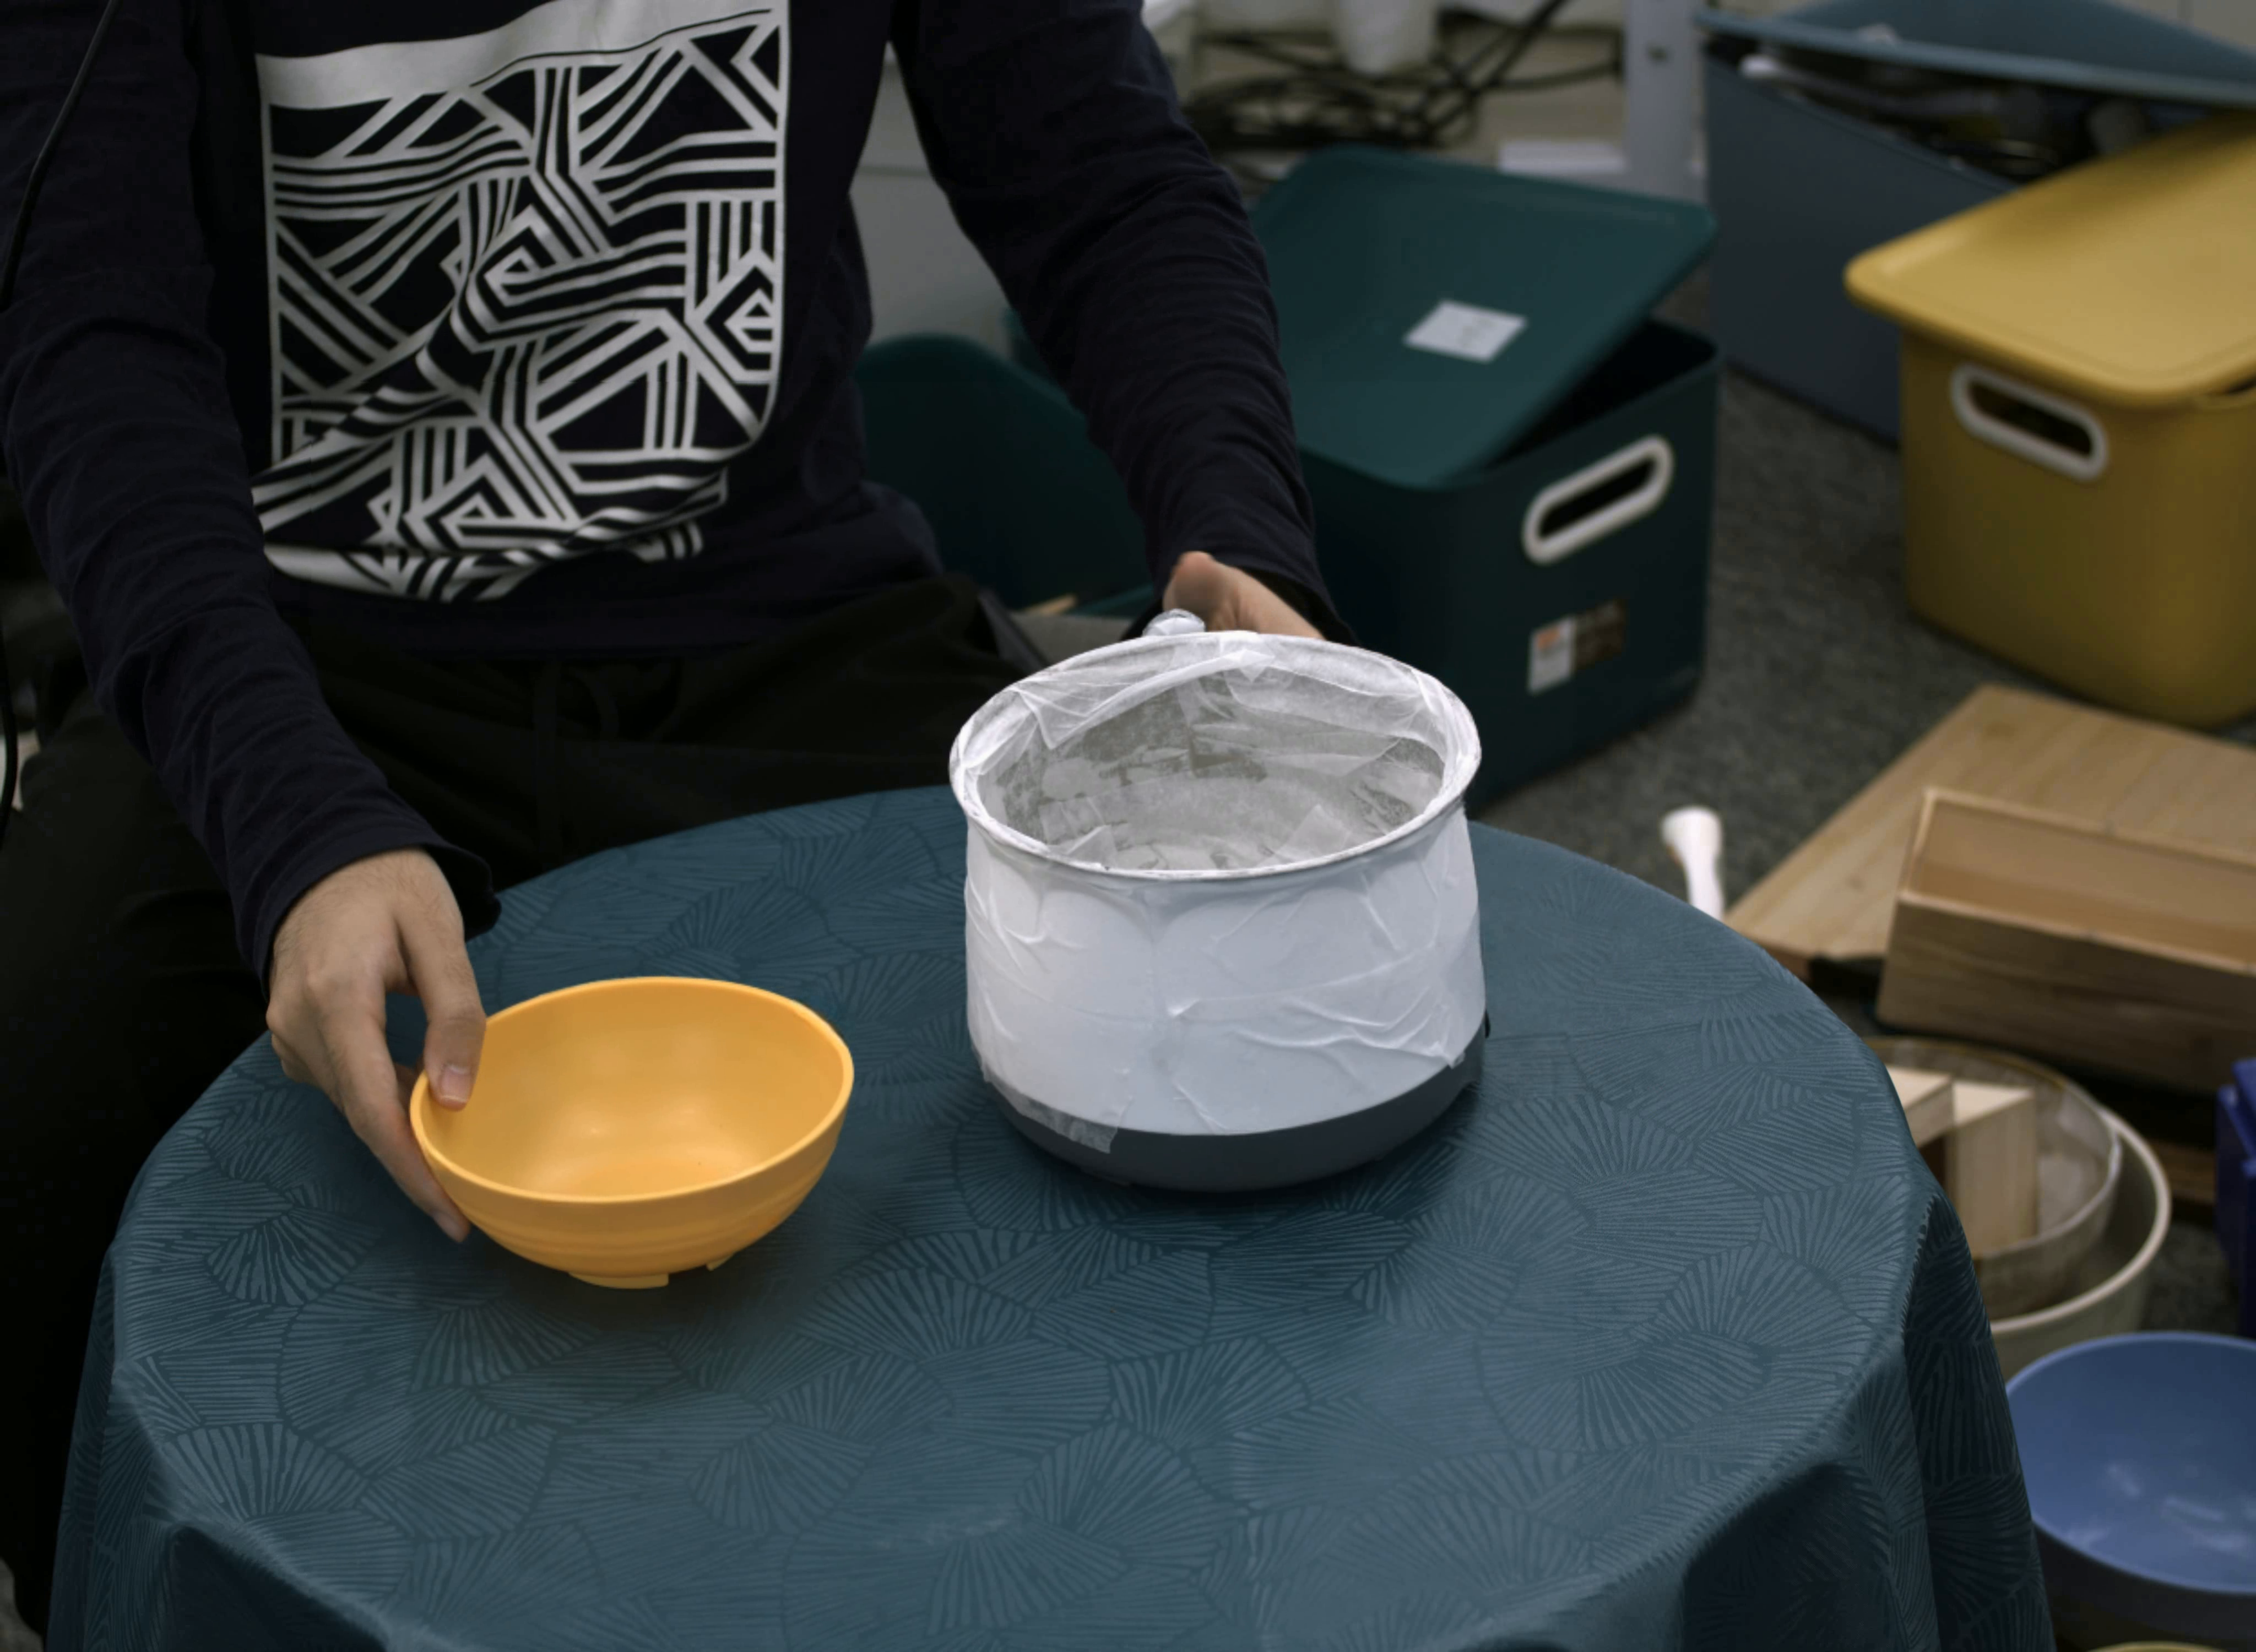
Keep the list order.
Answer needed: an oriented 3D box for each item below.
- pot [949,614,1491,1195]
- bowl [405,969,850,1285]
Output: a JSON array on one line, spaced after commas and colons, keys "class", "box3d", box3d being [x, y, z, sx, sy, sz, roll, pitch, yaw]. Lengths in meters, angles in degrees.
[{"class": "pot", "box3d": [0.029, 0.020, 1.914, 0.178, 0.135, 0.236, -6, 26, -6]}, {"class": "bowl", "box3d": [-0.162, 0.108, 1.836, 0.144, 0.059, 0.147, -1, 28, 1]}]
